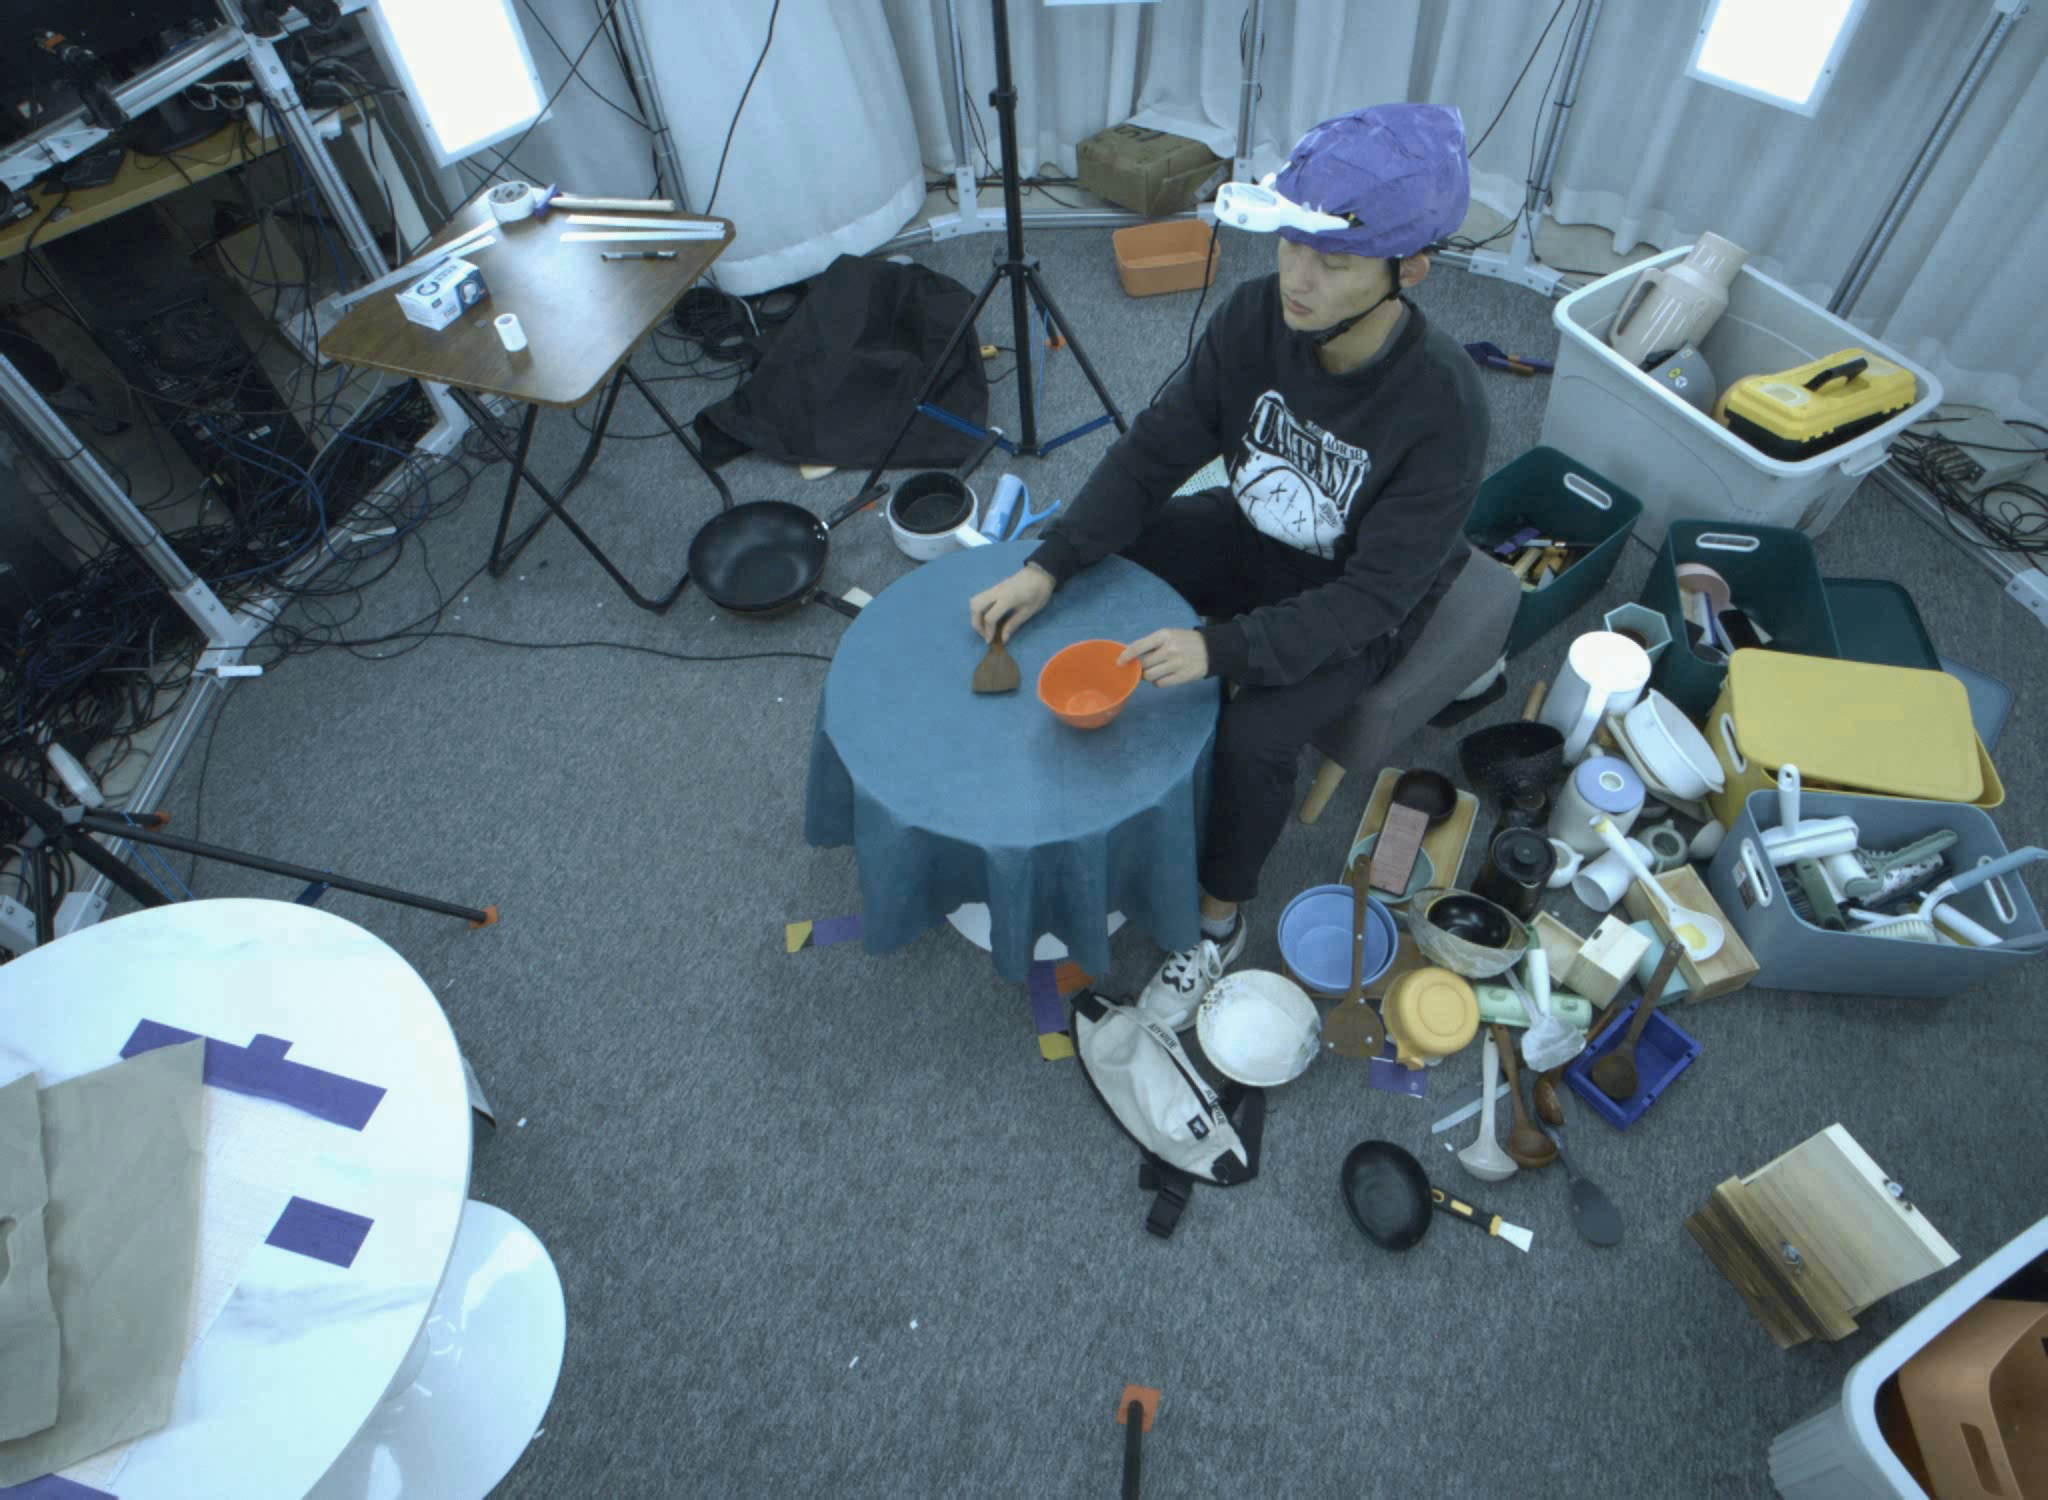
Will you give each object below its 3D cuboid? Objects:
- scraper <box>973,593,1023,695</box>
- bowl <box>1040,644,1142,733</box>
[{"bbox_3d":[-0.040,-0.166,1.909,0.076,0.011,0.209,-3,55,3],"label":"scraper"},{"bbox_3d":[0.099,-0.075,1.782,0.147,0.106,0.146,-3,56,6],"label":"bowl"}]
